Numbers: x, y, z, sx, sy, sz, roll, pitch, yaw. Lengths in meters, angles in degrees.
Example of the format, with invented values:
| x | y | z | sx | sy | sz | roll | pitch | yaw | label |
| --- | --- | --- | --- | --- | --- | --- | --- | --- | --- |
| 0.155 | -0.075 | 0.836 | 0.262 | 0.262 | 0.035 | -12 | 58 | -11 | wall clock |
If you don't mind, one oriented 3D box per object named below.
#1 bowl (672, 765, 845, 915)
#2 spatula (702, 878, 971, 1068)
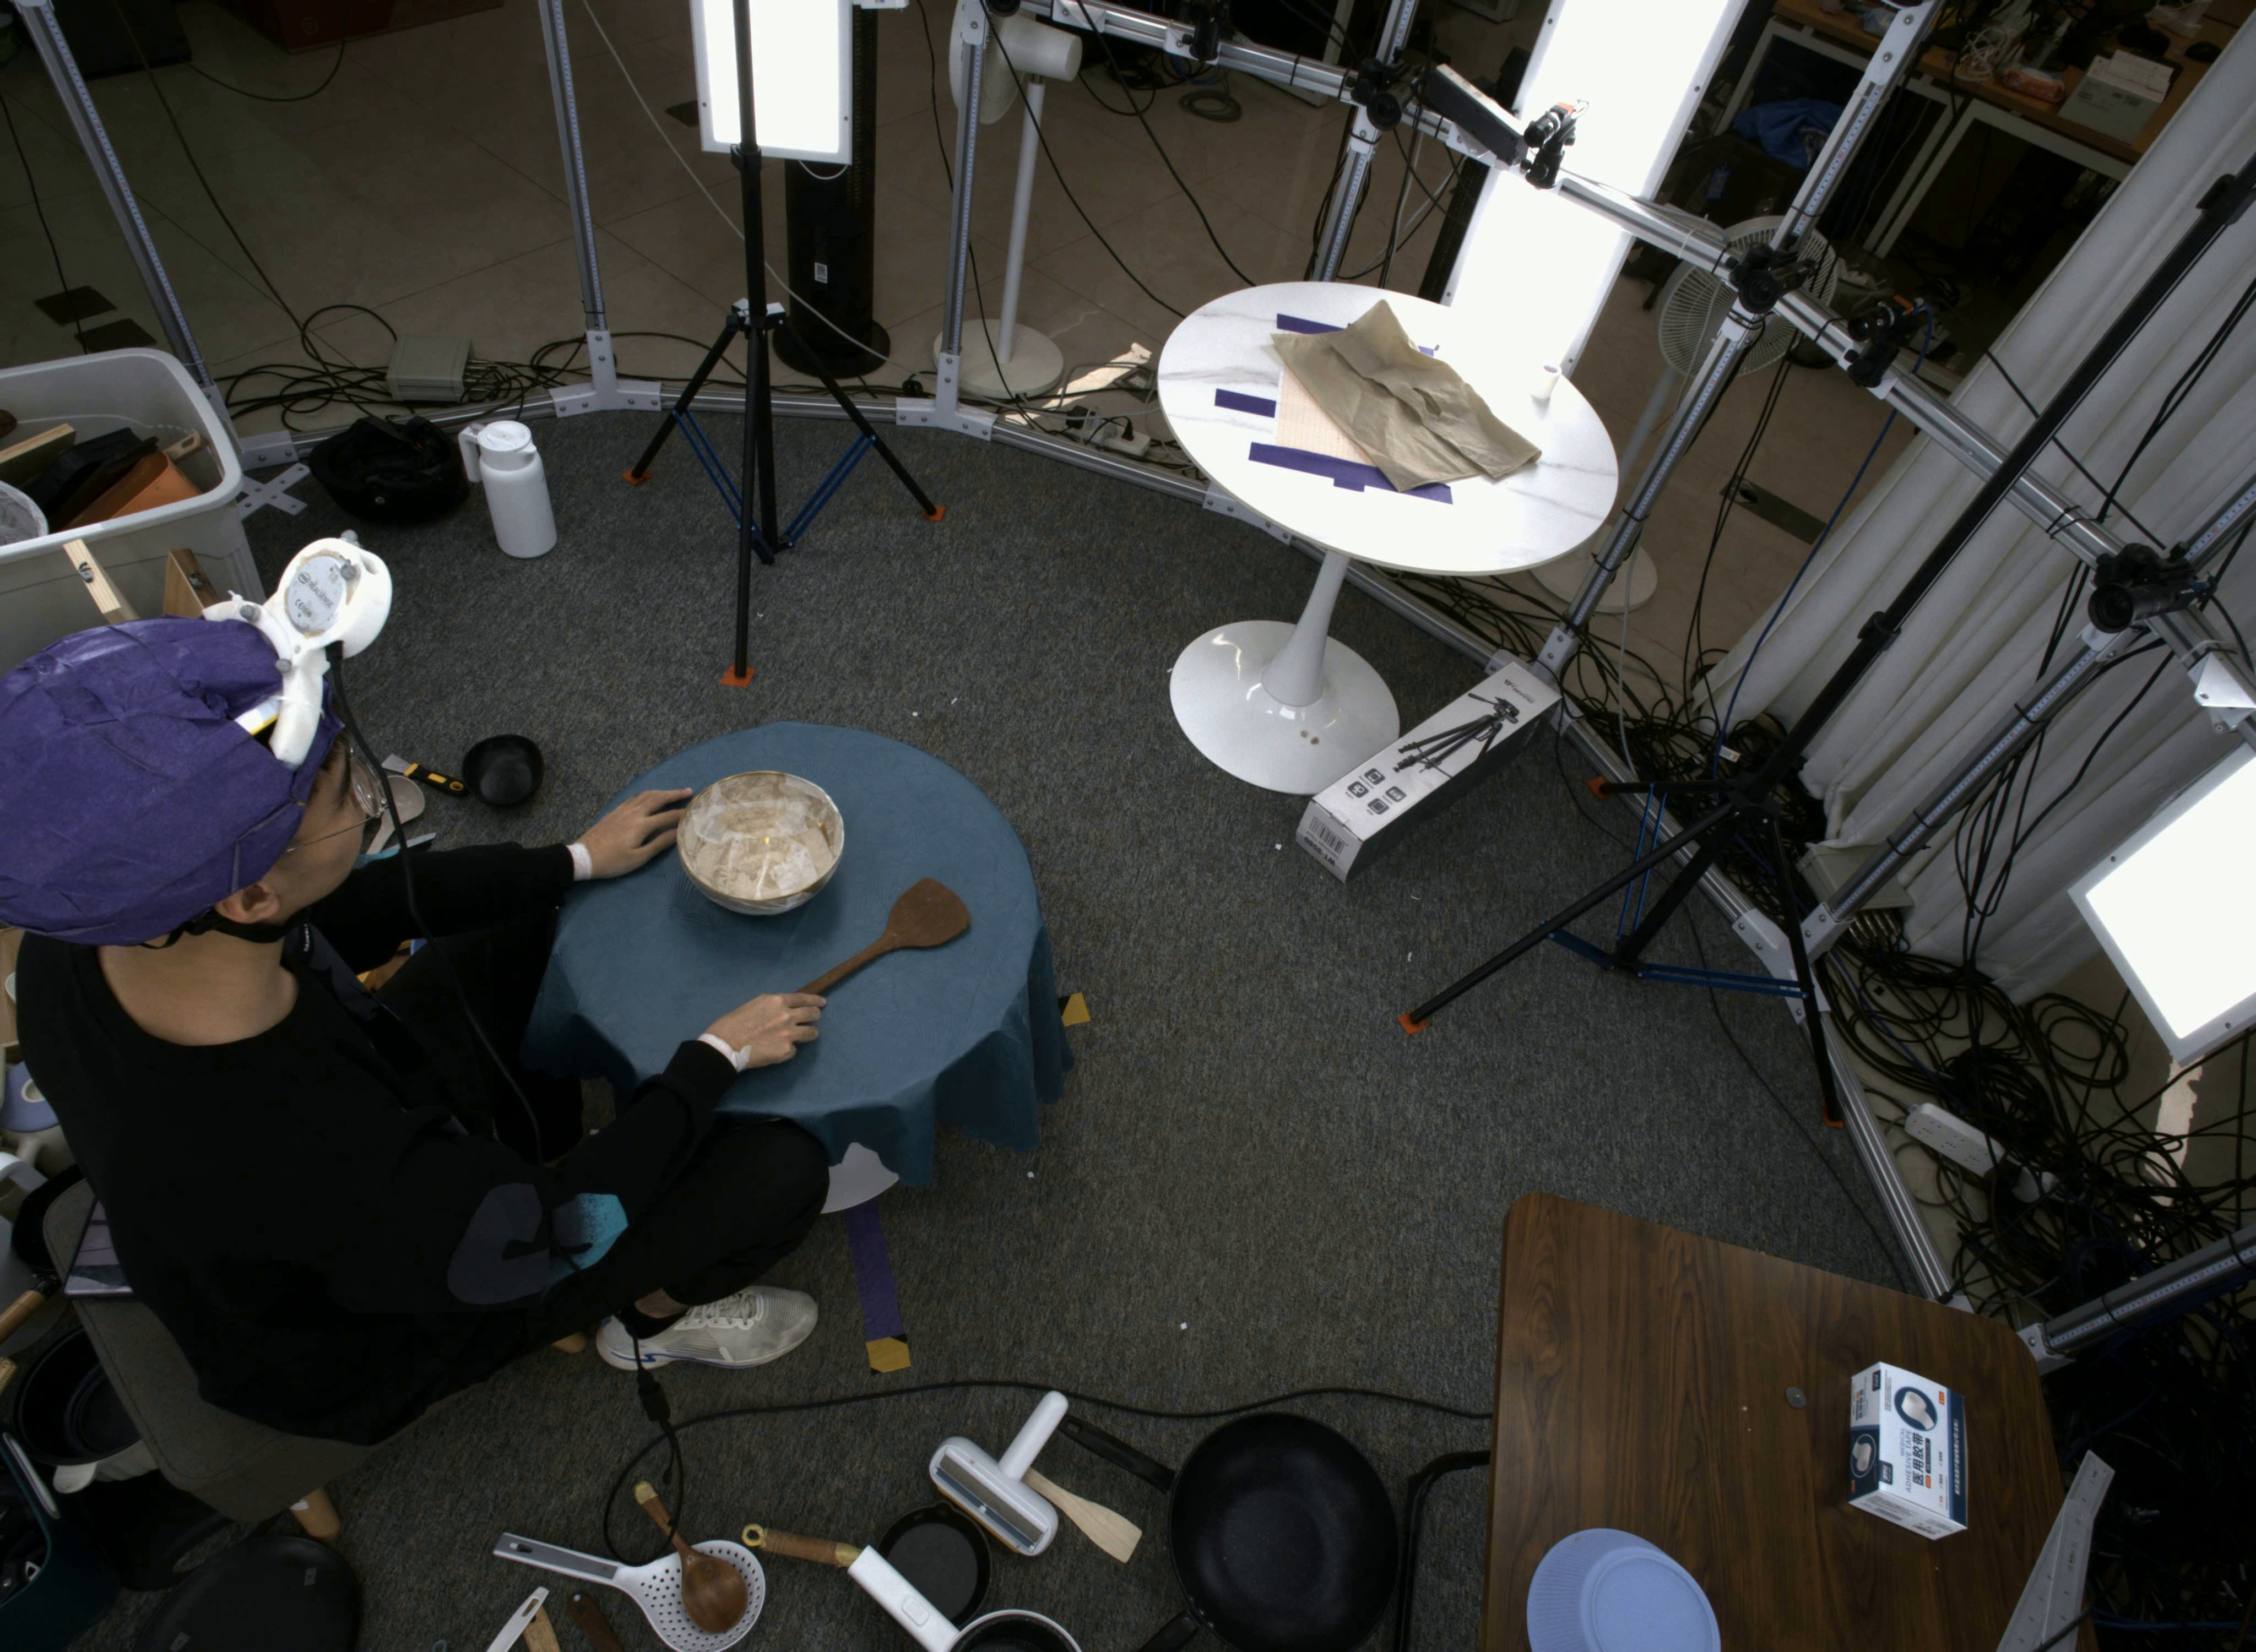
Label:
| x | y | z | sx | sy | sz | roll | pitch | yaw | label |
| --- | --- | --- | --- | --- | --- | --- | --- | --- | --- |
| -0.463 | 0.033 | 1.635 | 0.214 | 0.096 | 0.211 | 7 | 55 | -8 | bowl |
| -0.358 | 0.181 | 1.597 | 0.094 | 0.016 | 0.387 | 43 | 53 | 18 | spatula |
